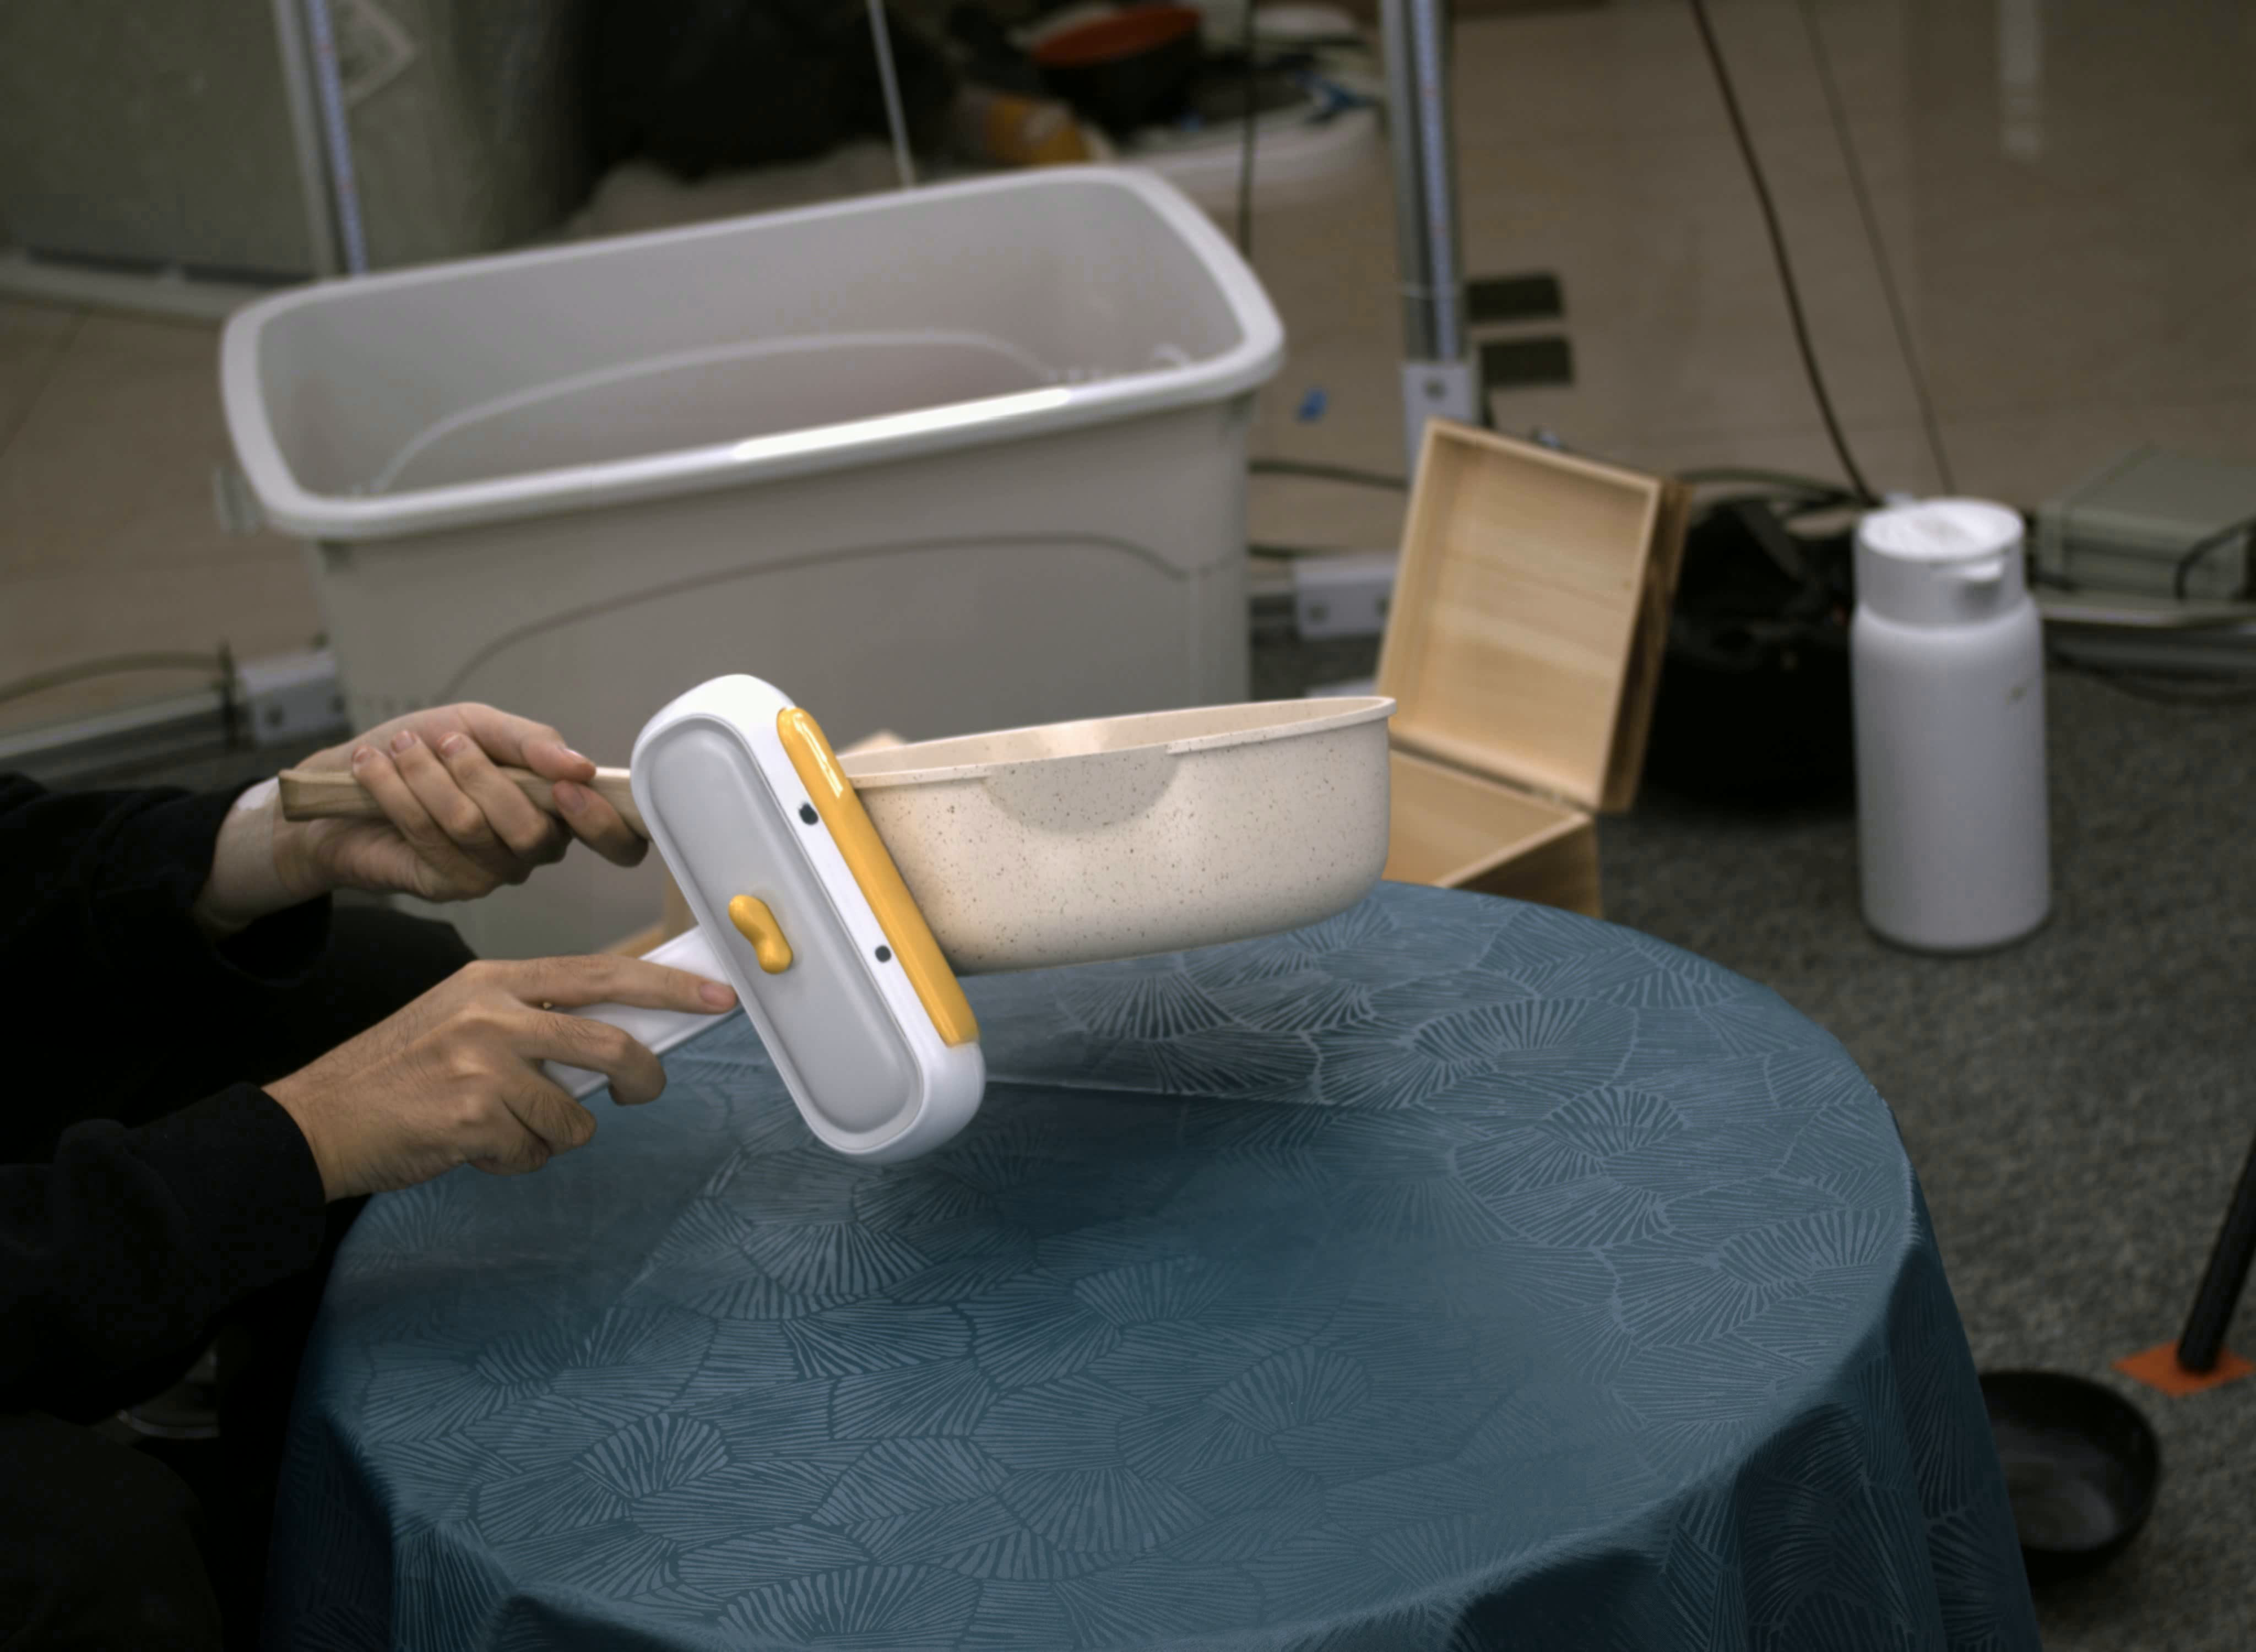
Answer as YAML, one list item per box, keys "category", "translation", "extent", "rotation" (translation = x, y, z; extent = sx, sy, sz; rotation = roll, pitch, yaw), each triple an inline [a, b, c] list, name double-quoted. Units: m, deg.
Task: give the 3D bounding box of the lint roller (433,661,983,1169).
- category: "lint roller"
  translation: [-0.172, 0.061, 2.107]
  extent: [0.193, 0.193, 0.073]
  rotation: [-33, 2, 17]

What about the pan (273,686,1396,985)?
- category: "pan"
  translation: [-0.109, 0.007, 2.196]
  extent: [0.434, 0.102, 0.262]
  rotation: [-7, 7, -1]
